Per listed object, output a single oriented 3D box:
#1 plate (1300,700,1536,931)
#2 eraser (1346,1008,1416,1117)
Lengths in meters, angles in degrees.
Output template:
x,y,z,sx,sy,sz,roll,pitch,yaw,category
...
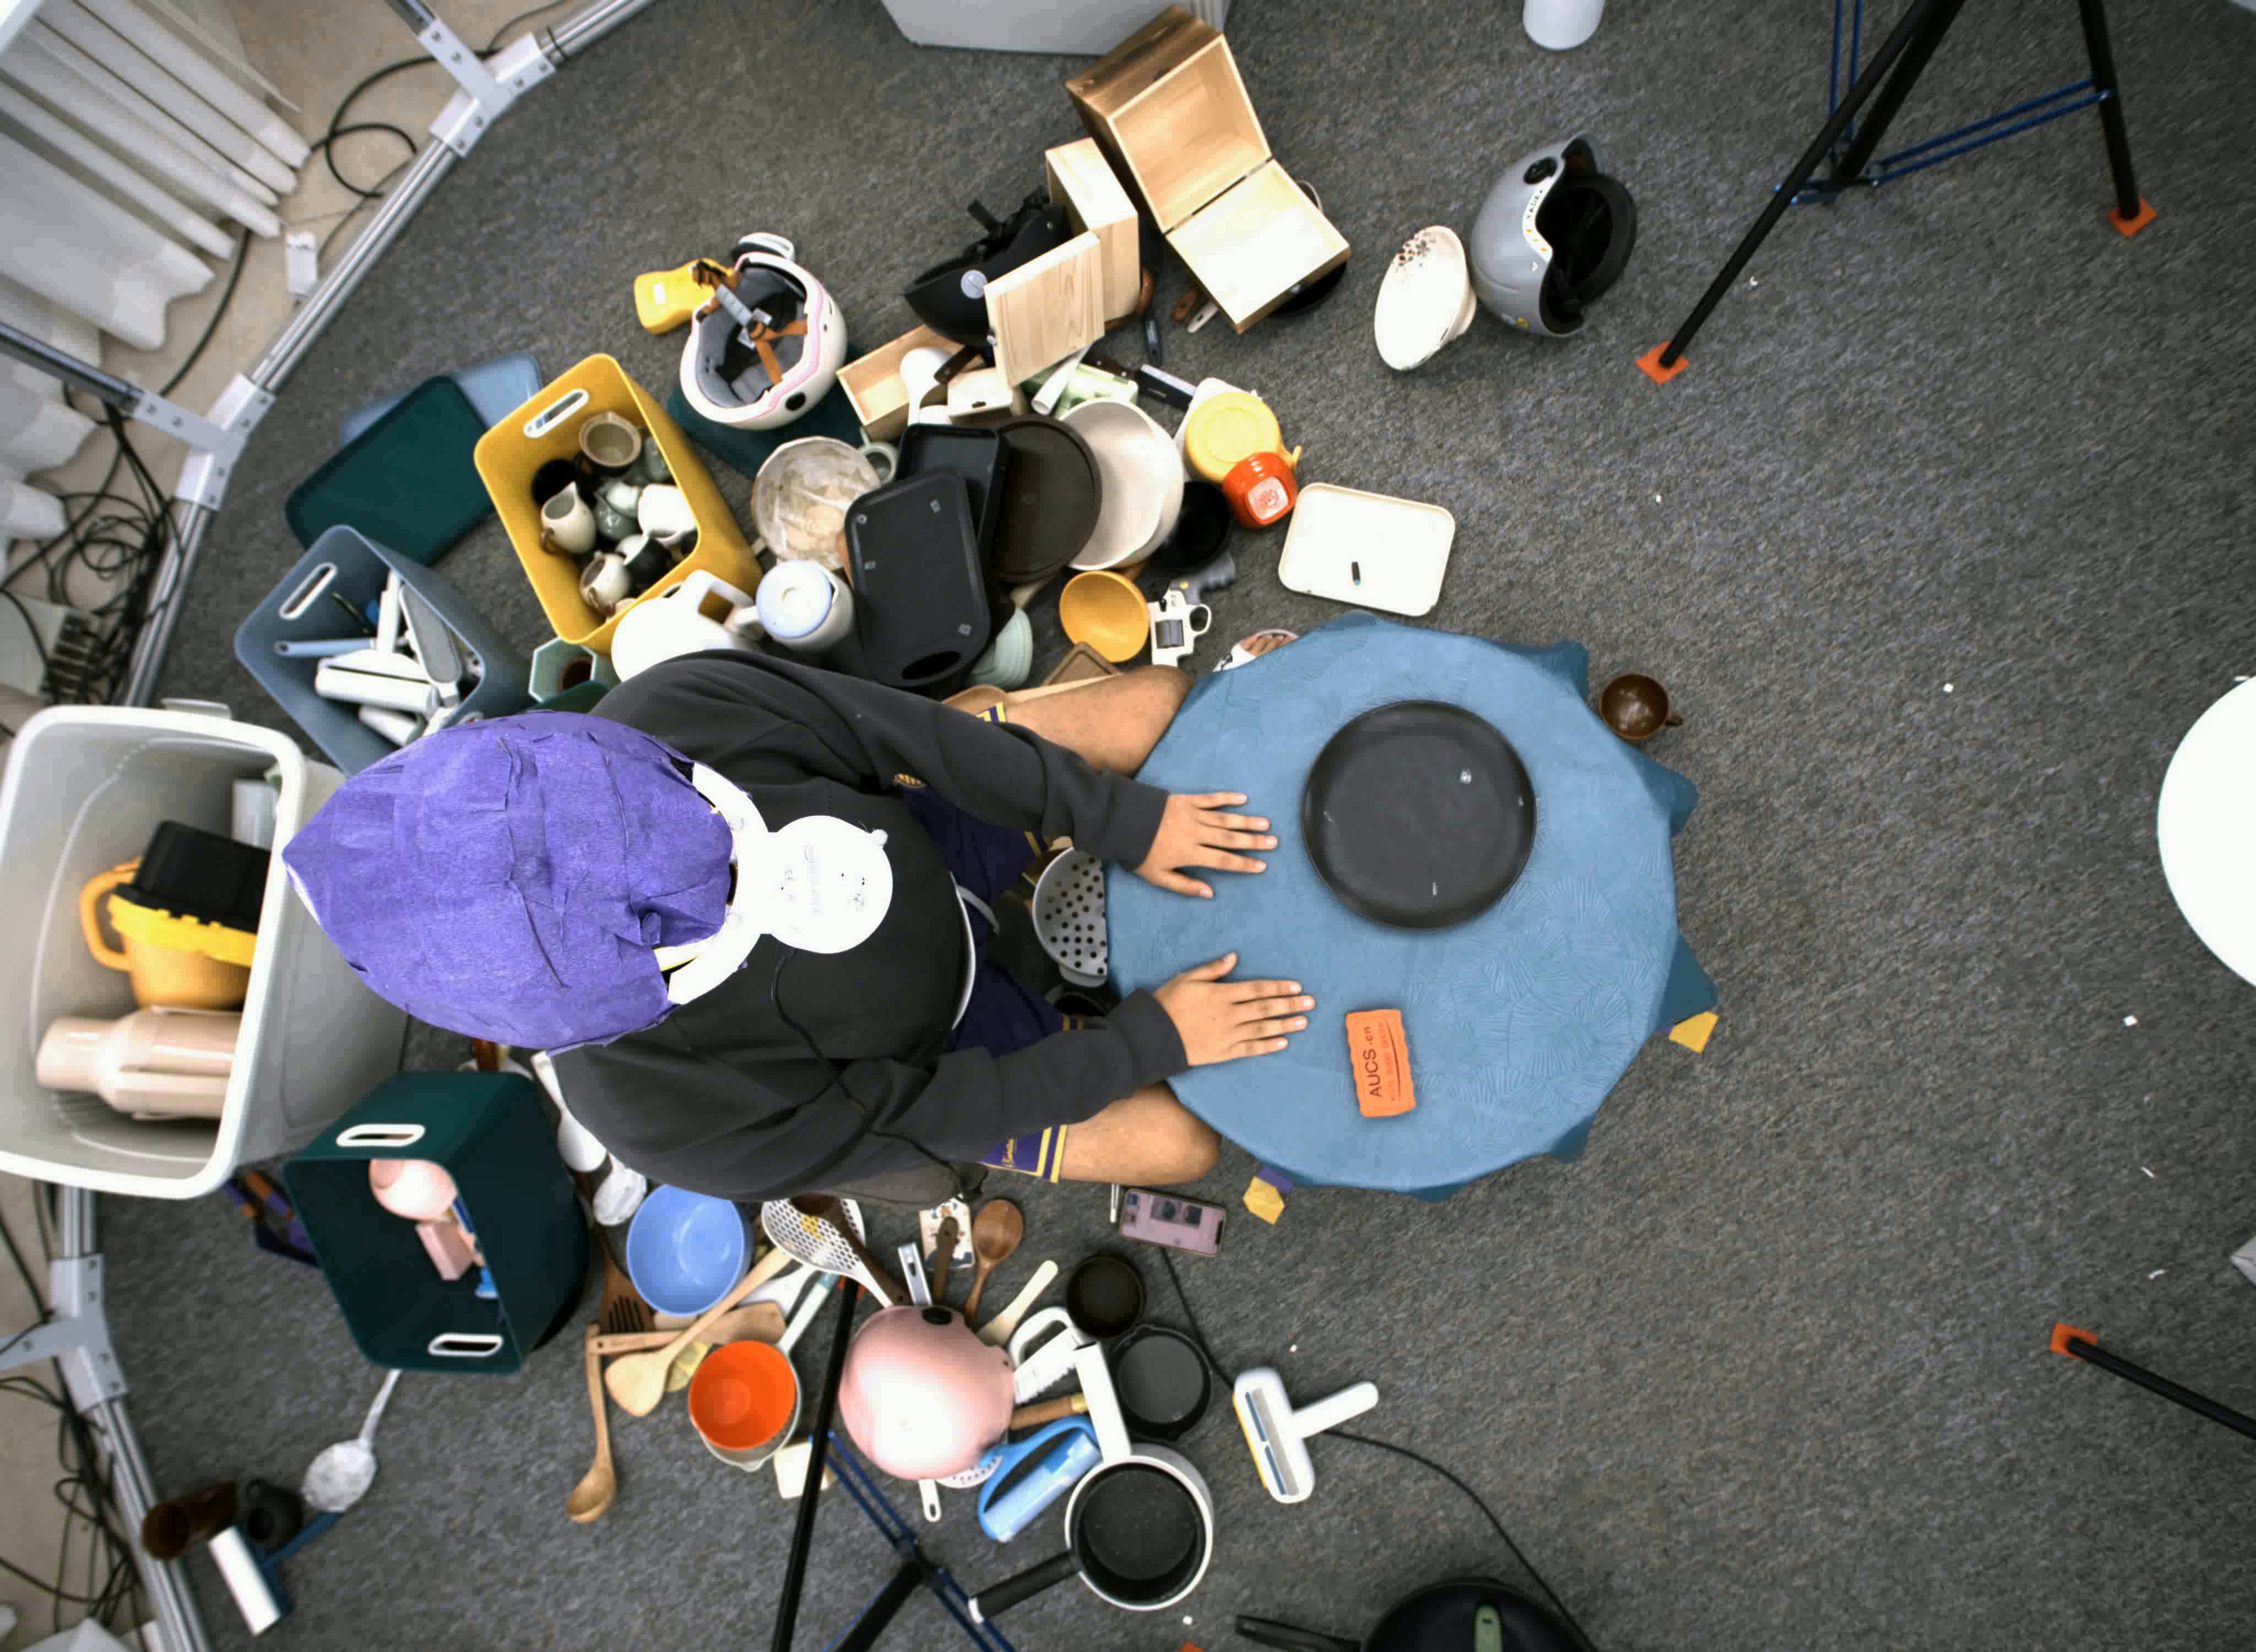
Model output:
x,y,z,sx,sy,sz,roll,pitch,yaw,category
0.303,-0.012,1.446,0.245,0.023,0.243,-1,87,10,plate
0.262,0.244,1.436,0.059,0.023,0.107,-10,84,9,eraser
